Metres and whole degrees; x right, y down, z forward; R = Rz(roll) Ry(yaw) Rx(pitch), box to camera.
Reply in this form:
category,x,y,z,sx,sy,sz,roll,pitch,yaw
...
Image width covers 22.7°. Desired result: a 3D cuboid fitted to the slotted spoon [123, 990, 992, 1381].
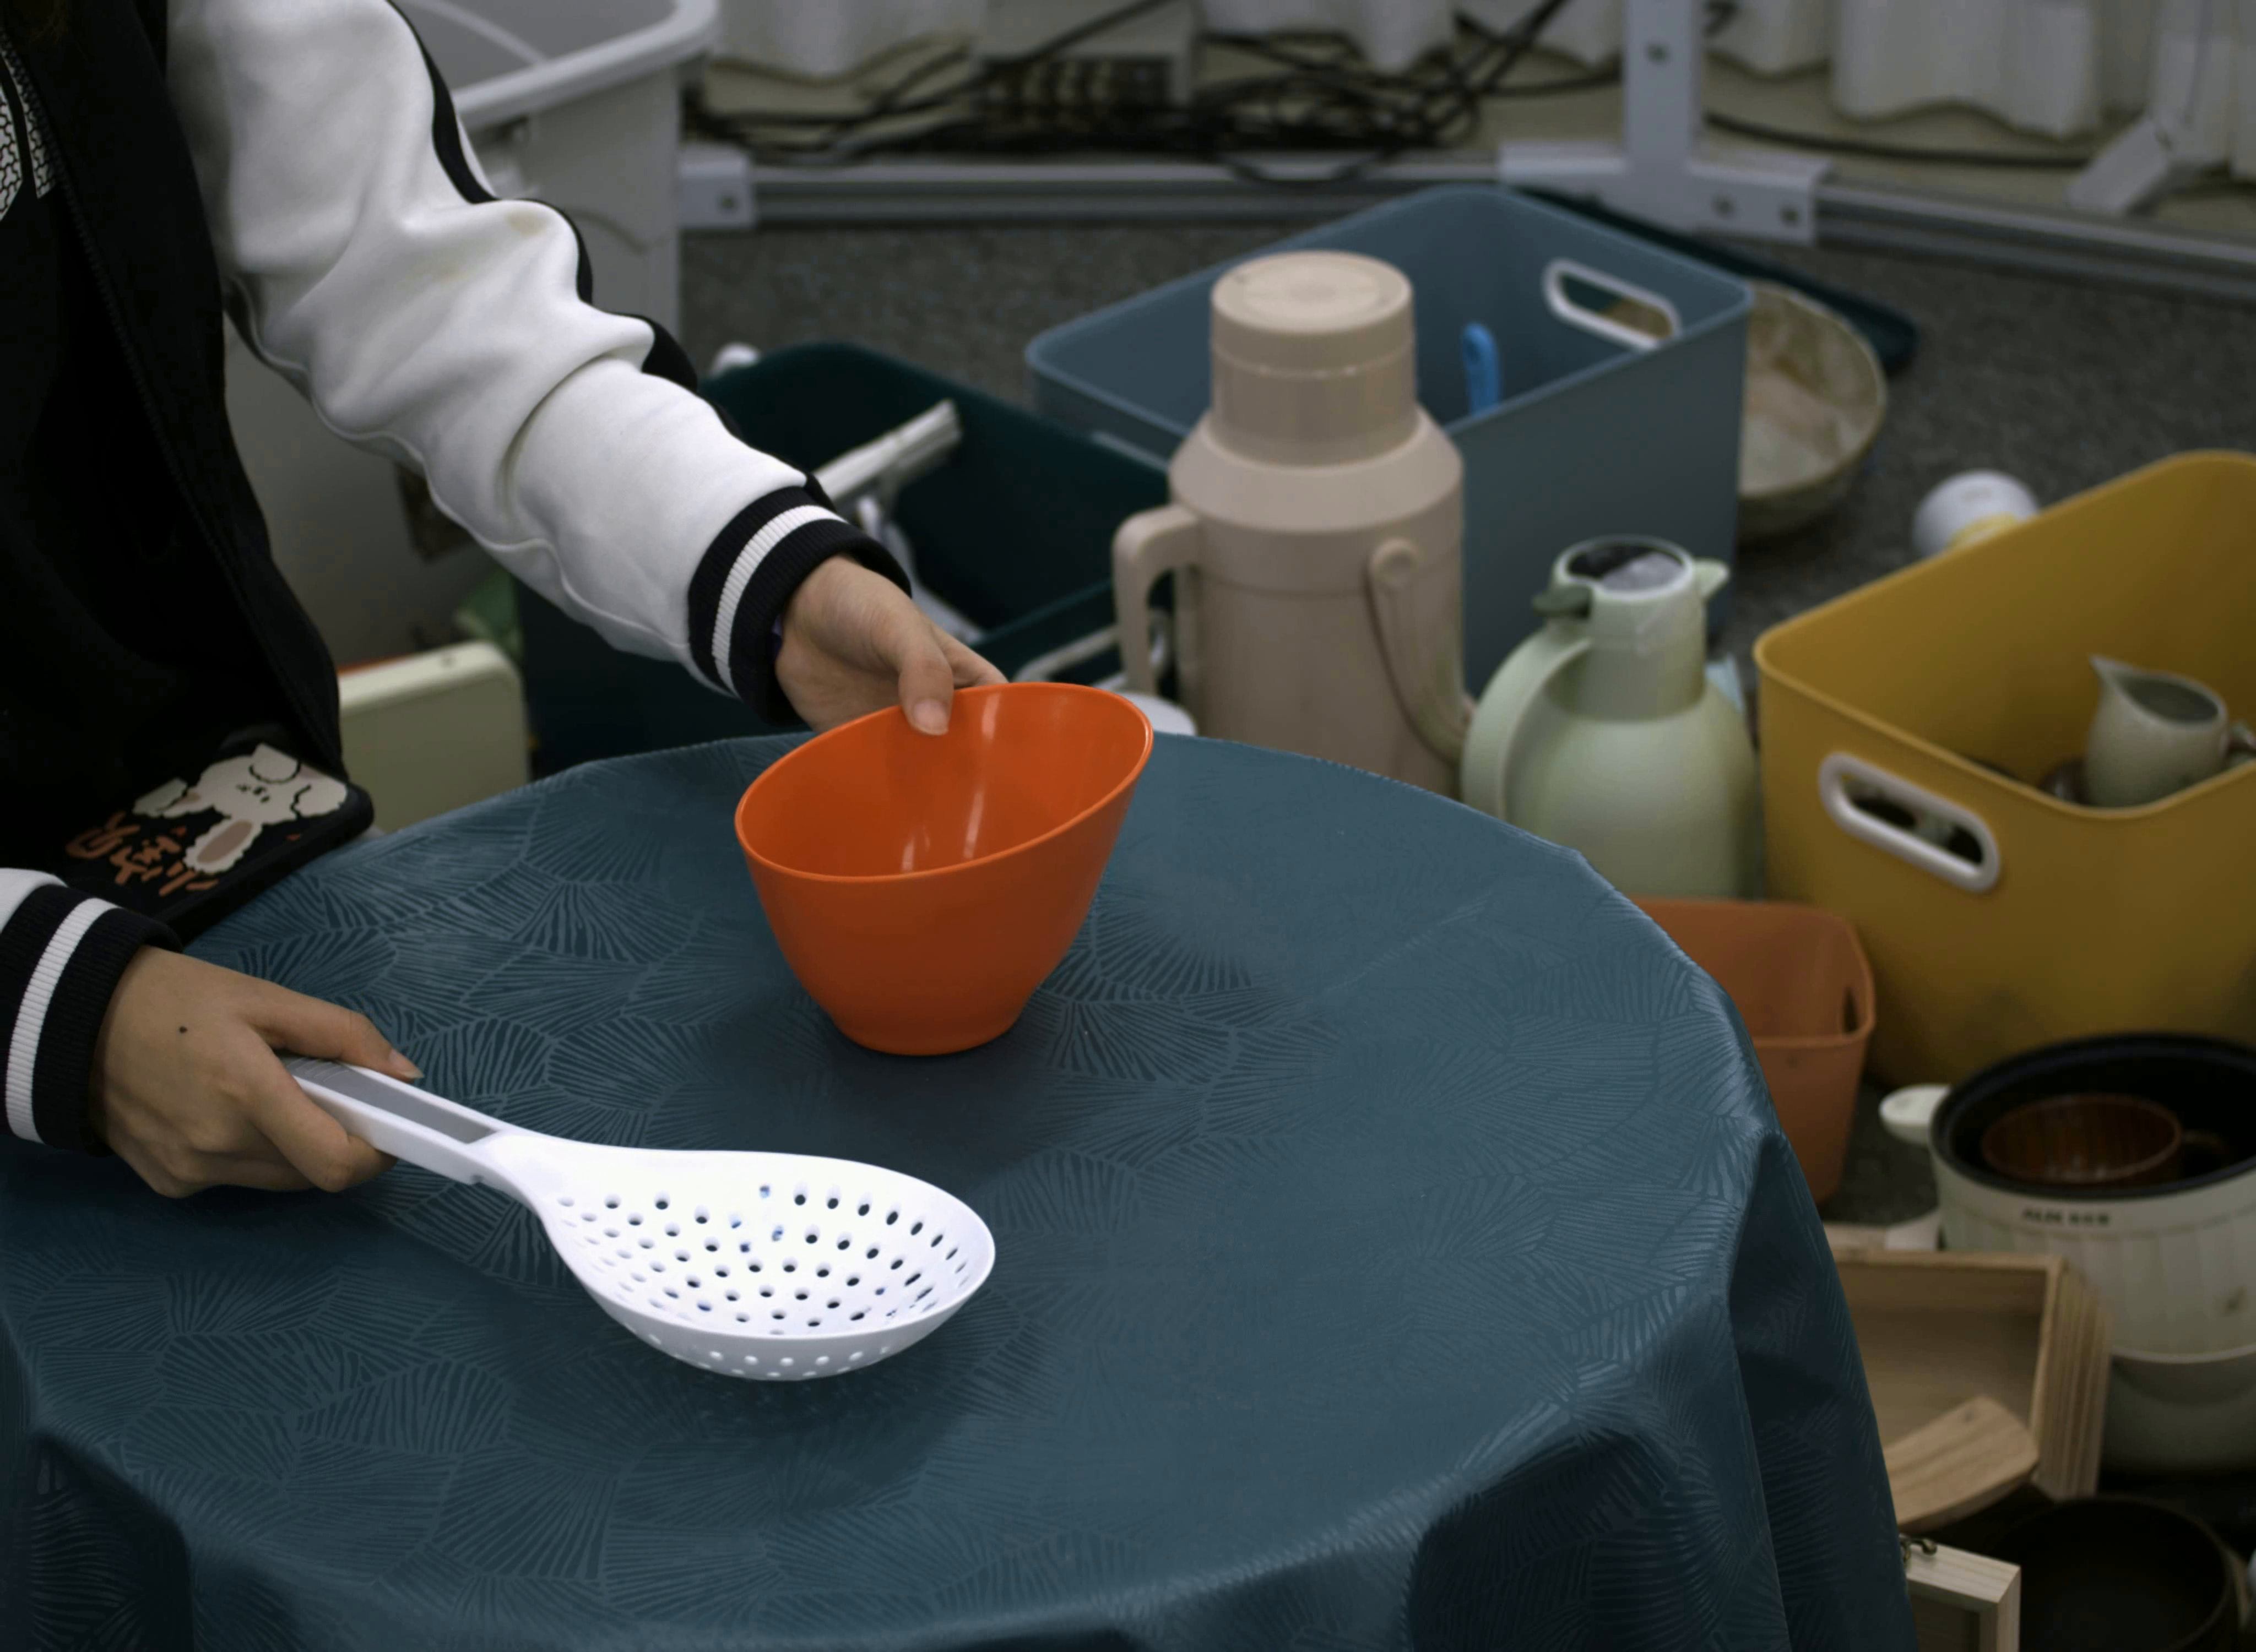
category,x,y,z,sx,sy,sz,roll,pitch,yaw
slotted spoon,-0.197,0.111,1.827,0.349,0.045,0.137,23,26,31

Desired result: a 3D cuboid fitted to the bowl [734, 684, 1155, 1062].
category,x,y,z,sx,sy,sz,roll,pitch,yaw
bowl,-0.061,0.021,1.951,0.147,0.103,0.150,-2,27,2
